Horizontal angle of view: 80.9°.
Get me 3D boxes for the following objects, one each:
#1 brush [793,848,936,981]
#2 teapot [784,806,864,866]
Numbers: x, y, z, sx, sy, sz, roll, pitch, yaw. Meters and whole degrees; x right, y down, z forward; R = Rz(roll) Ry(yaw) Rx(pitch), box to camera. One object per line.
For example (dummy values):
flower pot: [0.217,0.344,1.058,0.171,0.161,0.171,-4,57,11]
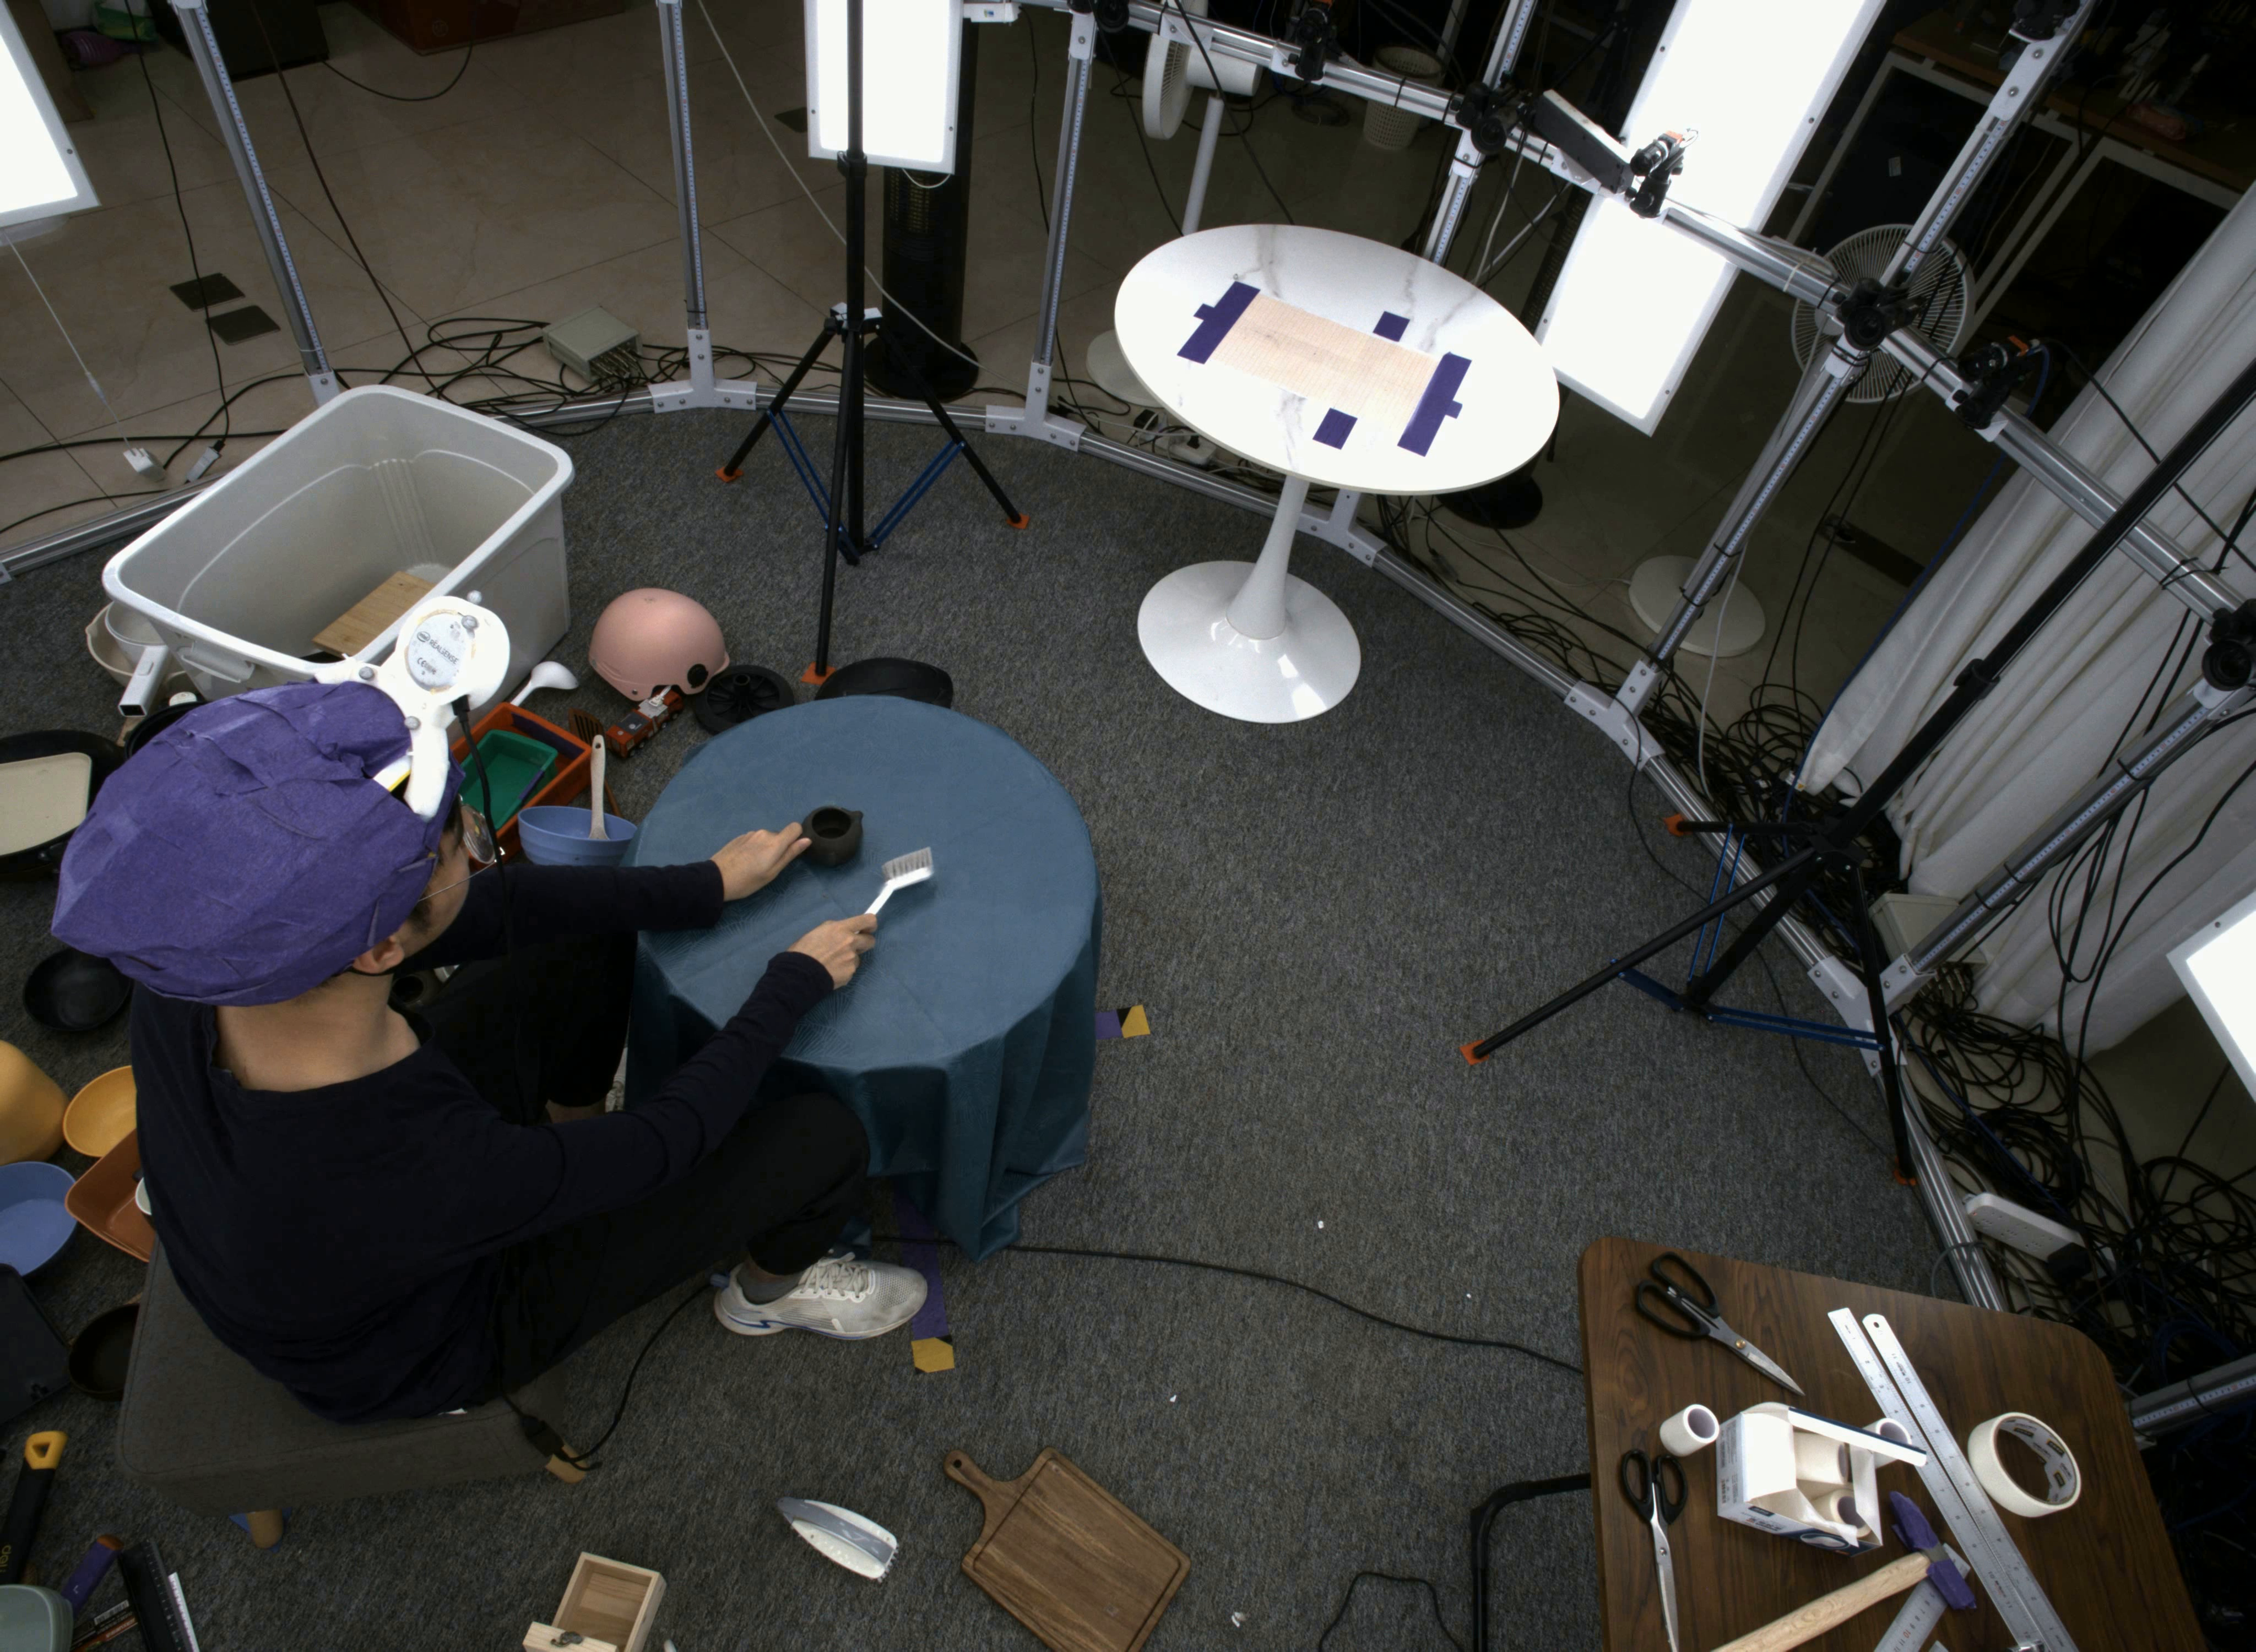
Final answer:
brush: [-0.336,0.102,1.628,0.244,0.033,0.051,-40,104,-32]
teapot: [-0.396,0.015,1.689,0.114,0.054,0.081,-25,63,-28]
